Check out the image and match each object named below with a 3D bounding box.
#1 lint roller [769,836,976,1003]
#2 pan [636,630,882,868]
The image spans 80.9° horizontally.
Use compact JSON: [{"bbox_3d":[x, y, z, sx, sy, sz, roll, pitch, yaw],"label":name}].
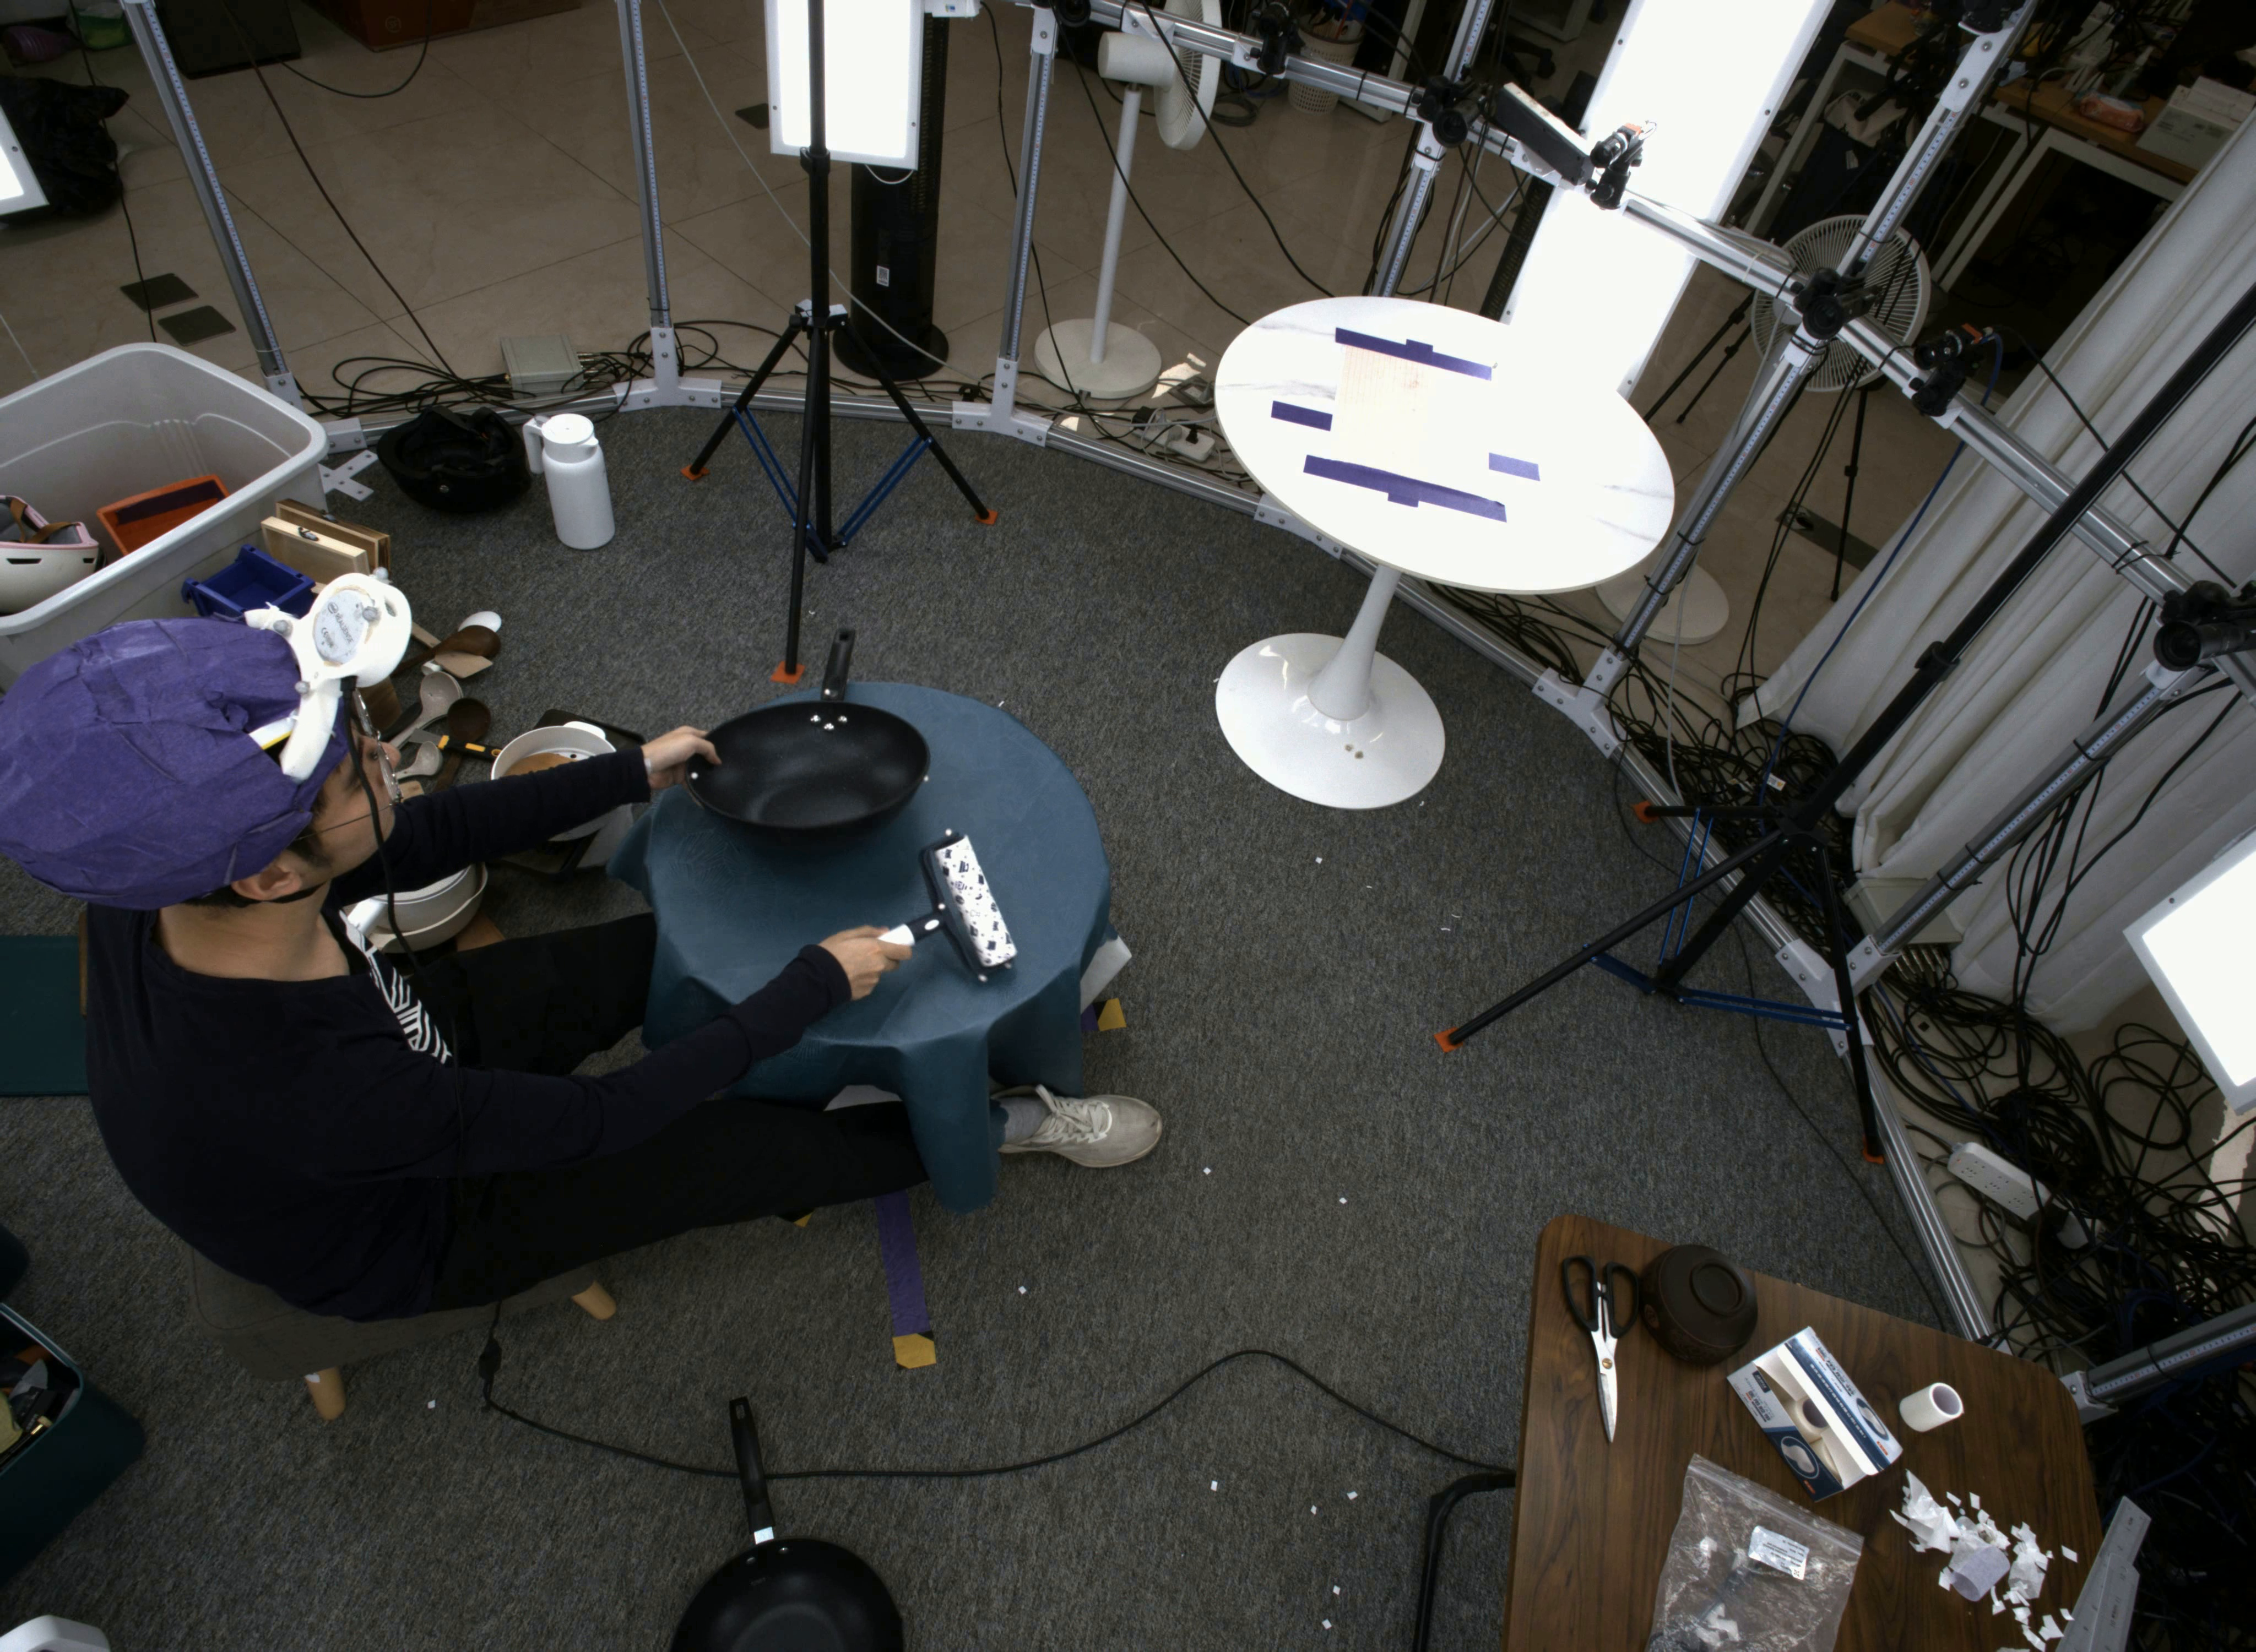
[{"bbox_3d":[-0.322,0.143,1.580,0.248,0.049,0.179,-32,99,-28],"label":"lint roller"},{"bbox_3d":[-0.475,-0.098,1.724,0.309,0.115,0.465,1,38,-7],"label":"pan"}]
